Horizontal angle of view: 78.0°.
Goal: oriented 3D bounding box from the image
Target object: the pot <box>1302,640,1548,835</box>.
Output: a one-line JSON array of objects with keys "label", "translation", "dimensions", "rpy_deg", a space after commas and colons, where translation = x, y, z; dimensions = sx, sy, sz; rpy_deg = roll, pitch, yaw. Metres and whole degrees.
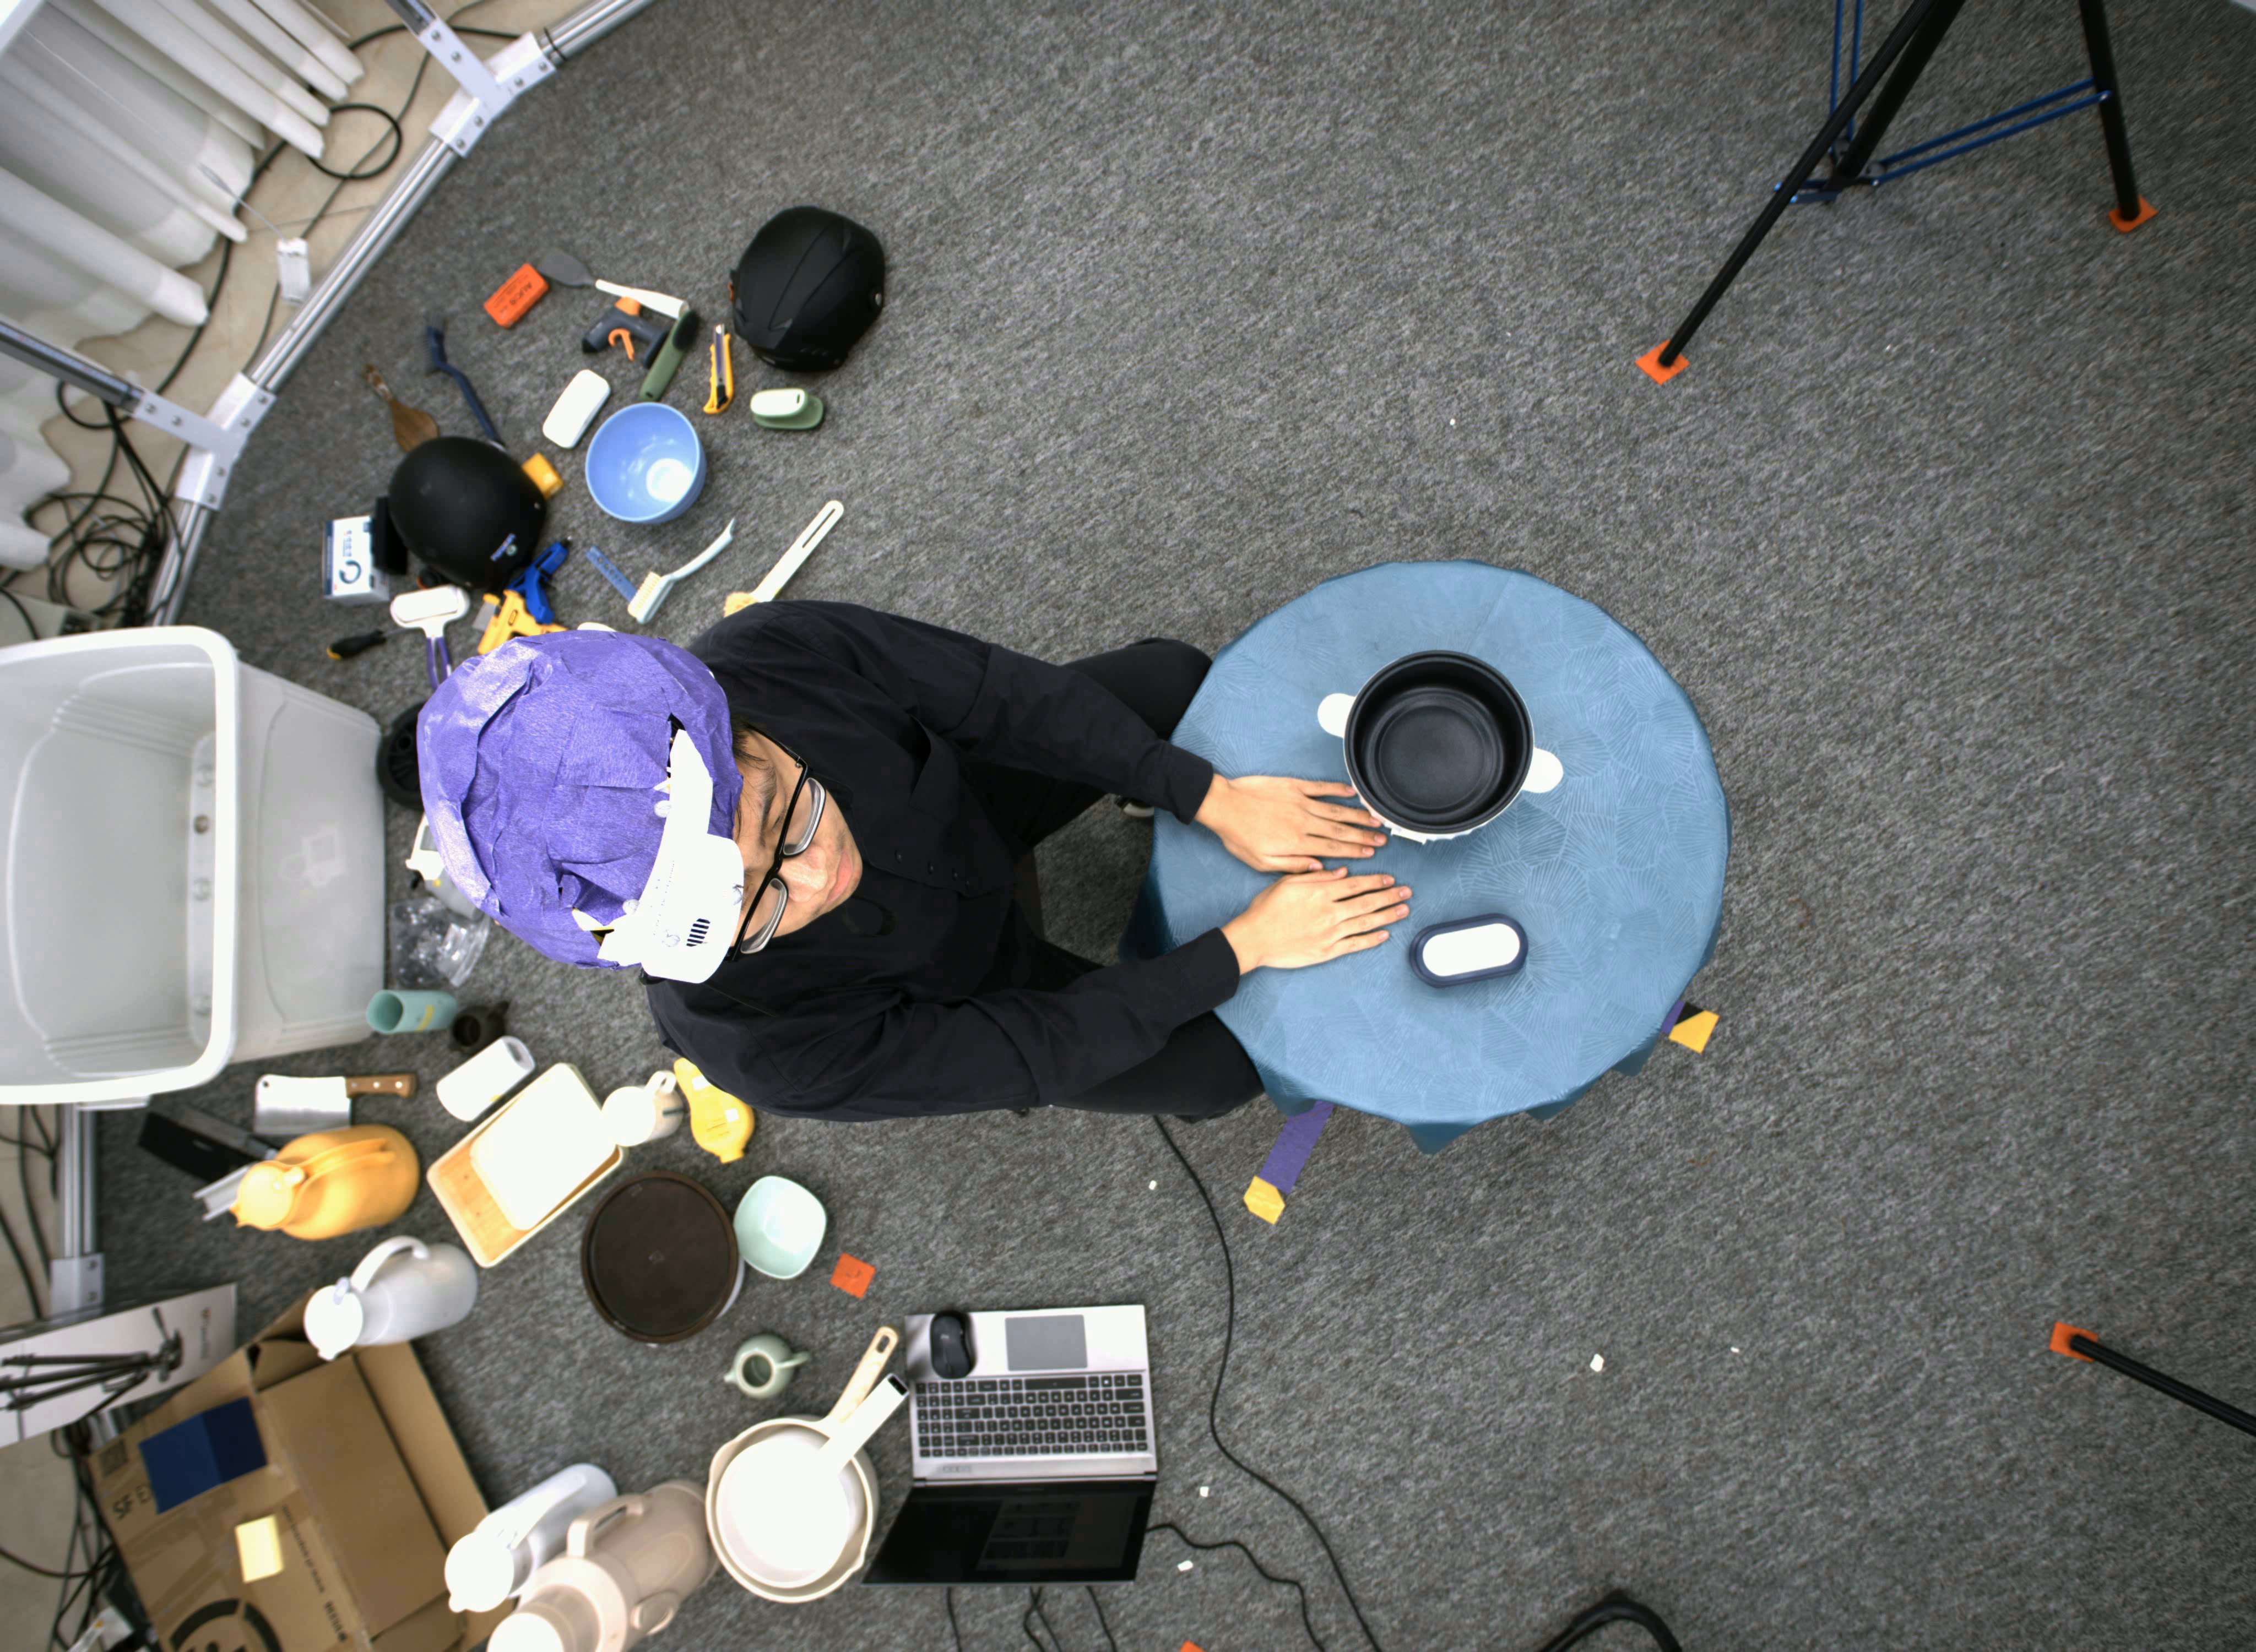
[{"label": "pot", "translation": [0.295, -0.092, 1.386], "dimensions": [0.240, 0.142, 0.190], "rpy_deg": [16, 91, 9]}]

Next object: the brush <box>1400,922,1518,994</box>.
[{"label": "brush", "translation": [0.341, 0.134, 1.417], "dimensions": [0.122, 0.061, 0.068], "rpy_deg": [-8, 88, 6]}]
